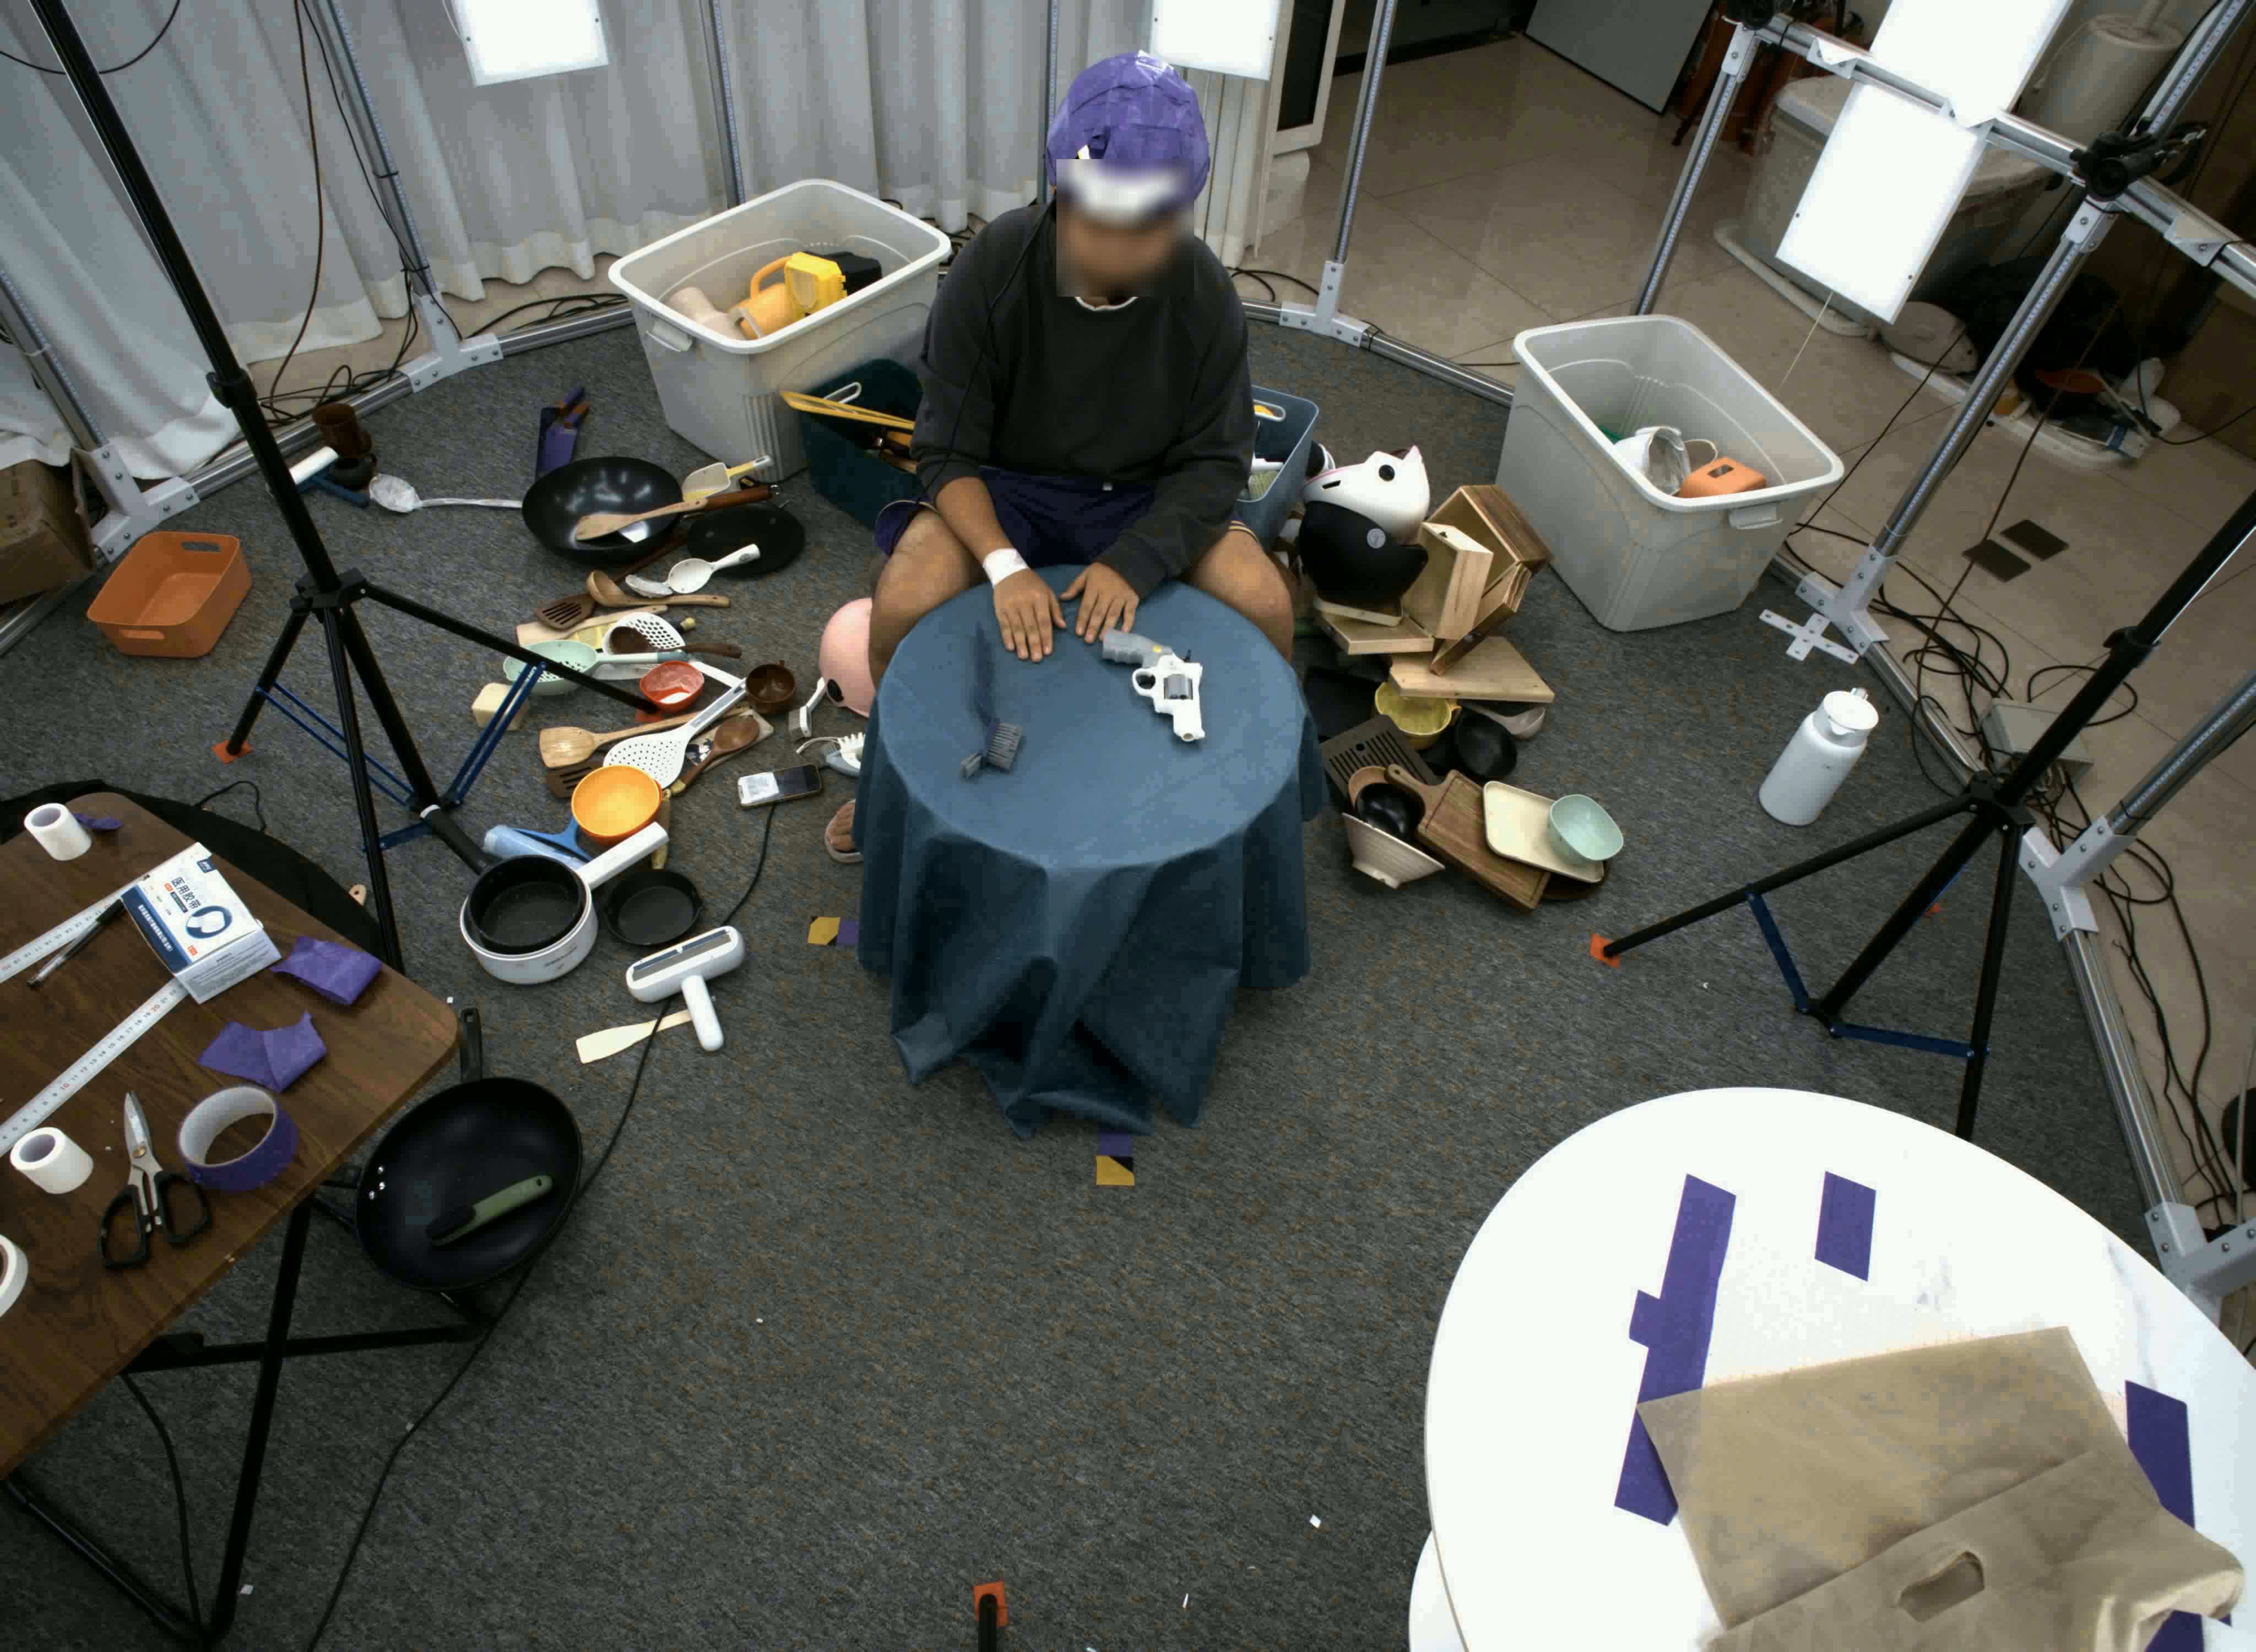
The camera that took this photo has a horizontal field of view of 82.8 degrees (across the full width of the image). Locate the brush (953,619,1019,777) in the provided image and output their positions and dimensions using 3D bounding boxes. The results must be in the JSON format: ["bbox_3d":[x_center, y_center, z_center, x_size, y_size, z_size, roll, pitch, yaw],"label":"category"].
[{"bbox_3d":[-0.210,-0.183,1.790,0.095,0.033,0.280,-7,50,-10],"label":"brush"}]

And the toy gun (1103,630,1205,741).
[{"bbox_3d":[0.036,-0.203,1.821,0.141,0.038,0.214,0,49,-2],"label":"toy gun"}]
